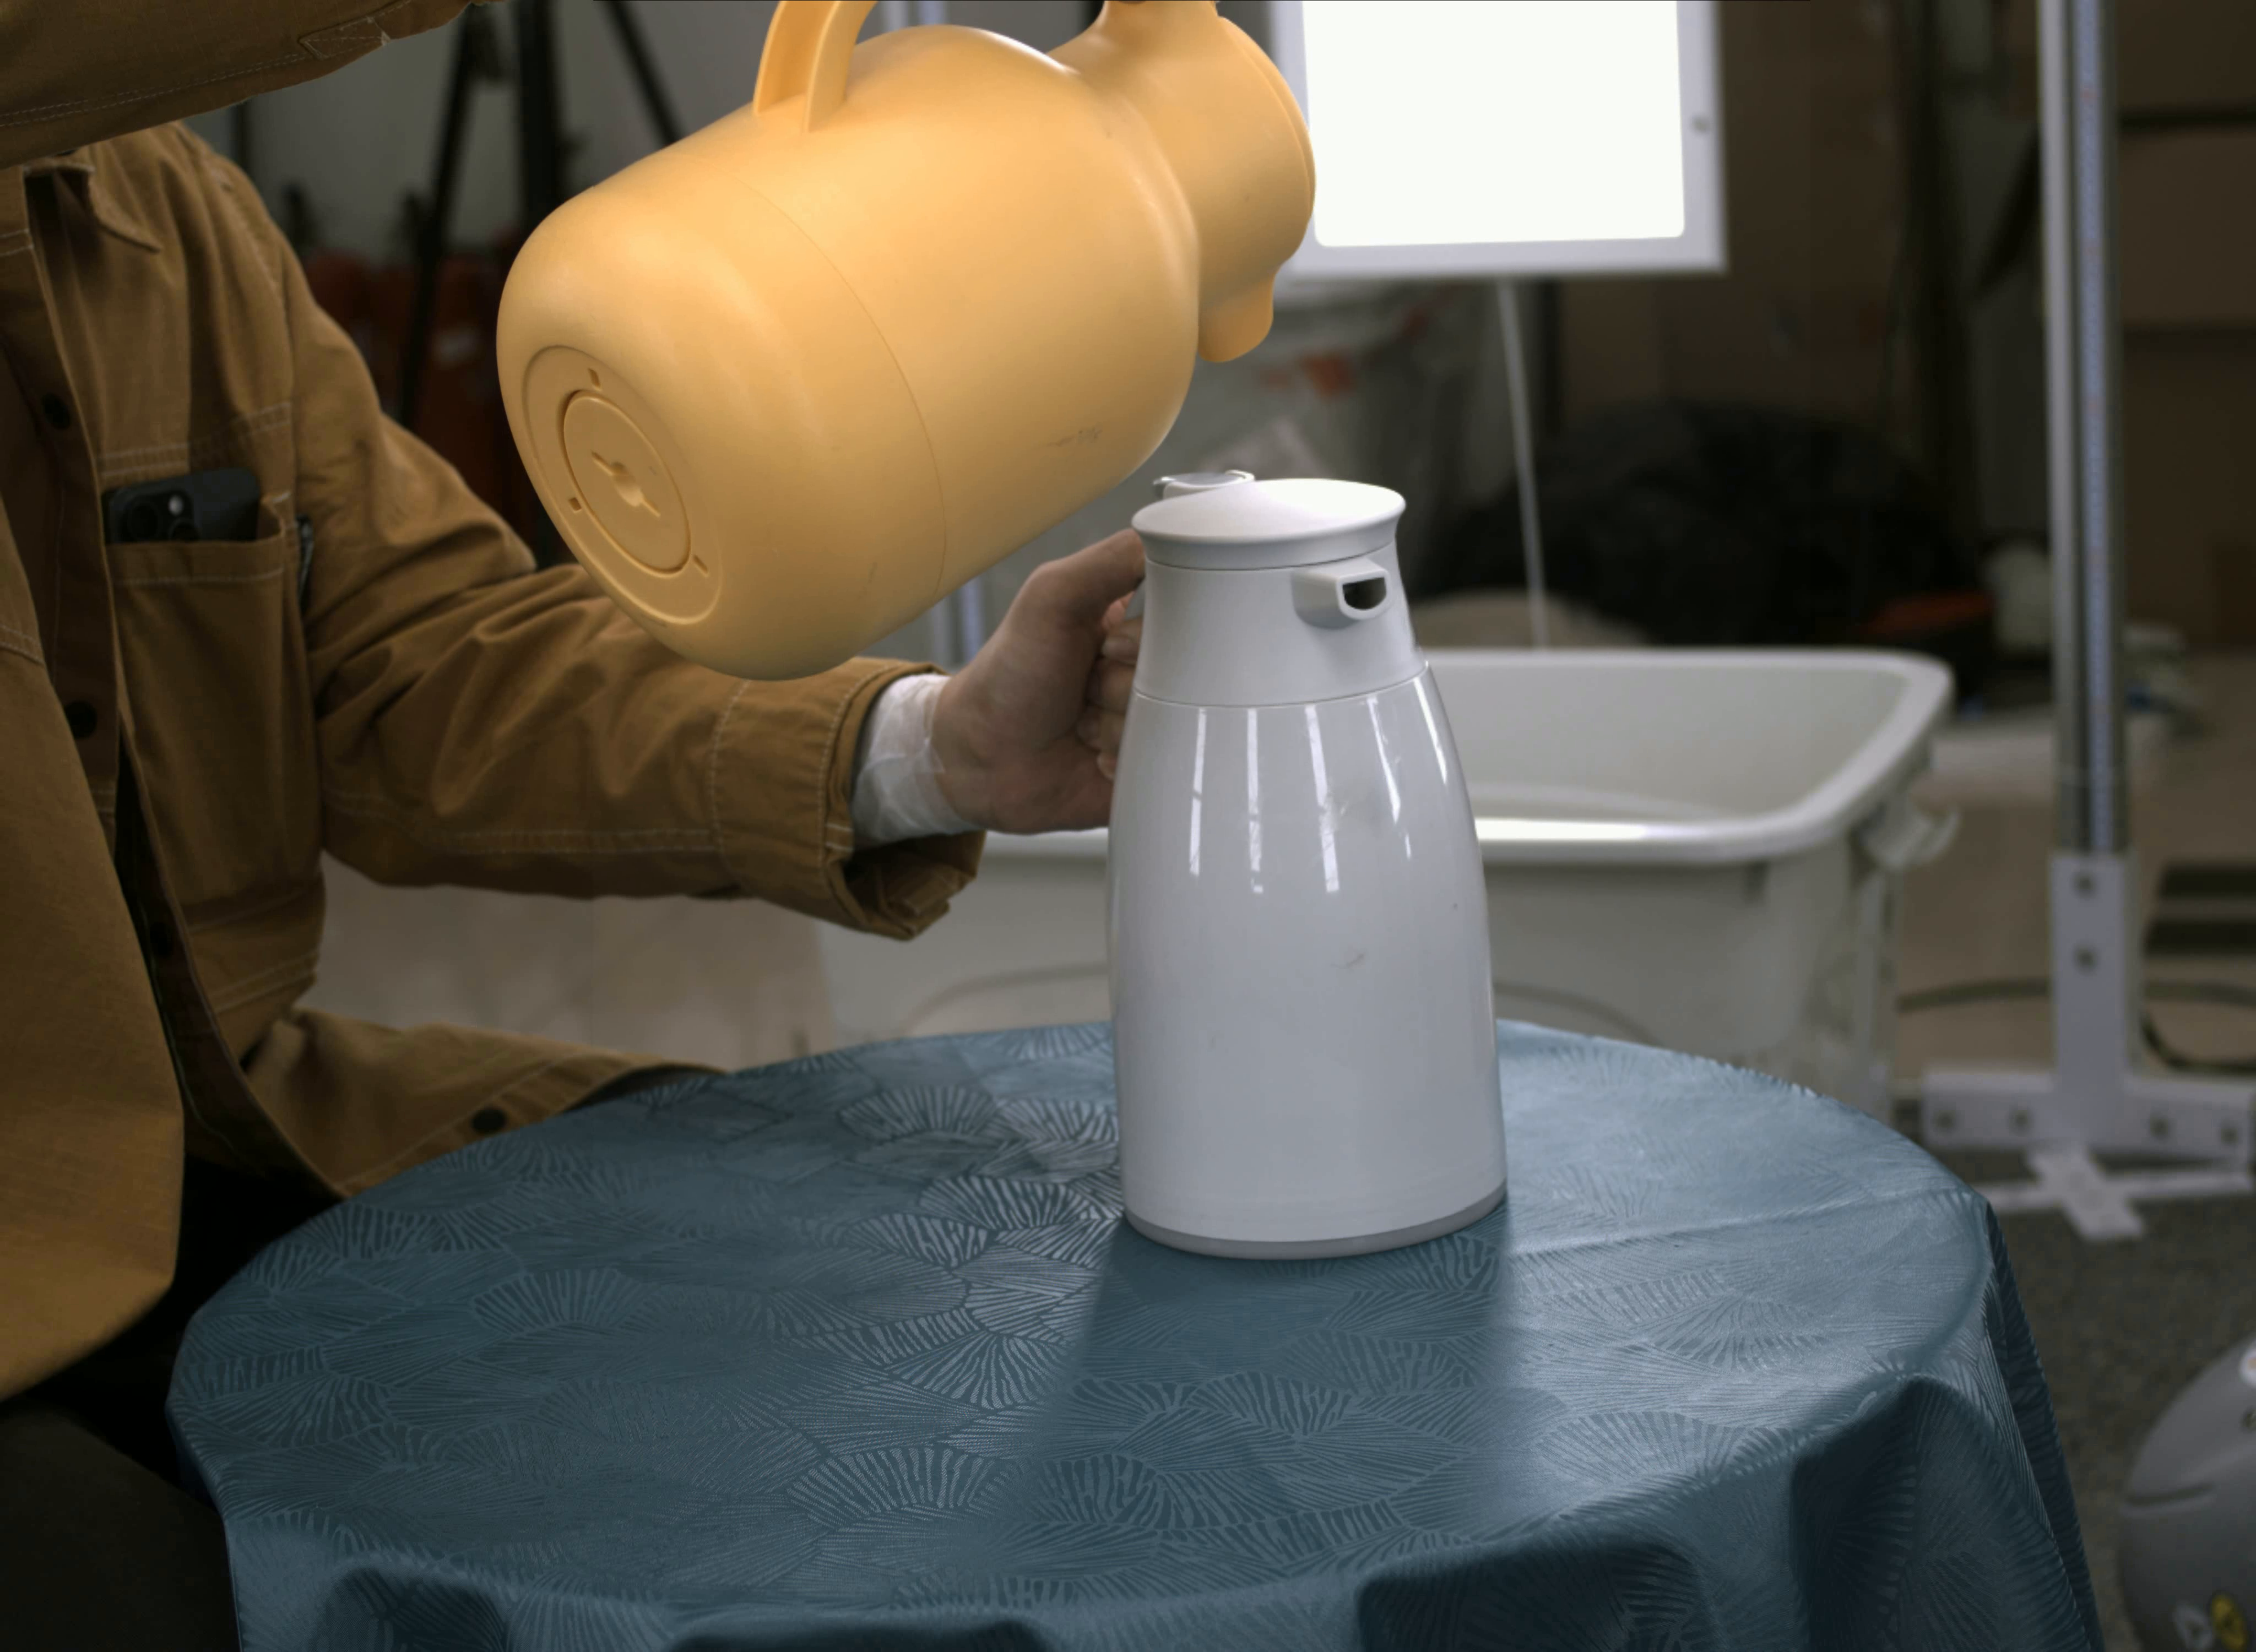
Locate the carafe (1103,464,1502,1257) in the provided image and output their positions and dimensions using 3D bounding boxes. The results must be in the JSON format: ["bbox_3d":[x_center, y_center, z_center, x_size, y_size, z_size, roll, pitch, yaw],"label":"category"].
[{"bbox_3d":[0.044,0.004,1.860,0.130,0.249,0.170,-11,15,-26],"label":"carafe"}]

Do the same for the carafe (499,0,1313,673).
[{"bbox_3d":[-0.064,-0.184,1.703,0.255,0.202,0.167,-34,34,-30],"label":"carafe"}]
